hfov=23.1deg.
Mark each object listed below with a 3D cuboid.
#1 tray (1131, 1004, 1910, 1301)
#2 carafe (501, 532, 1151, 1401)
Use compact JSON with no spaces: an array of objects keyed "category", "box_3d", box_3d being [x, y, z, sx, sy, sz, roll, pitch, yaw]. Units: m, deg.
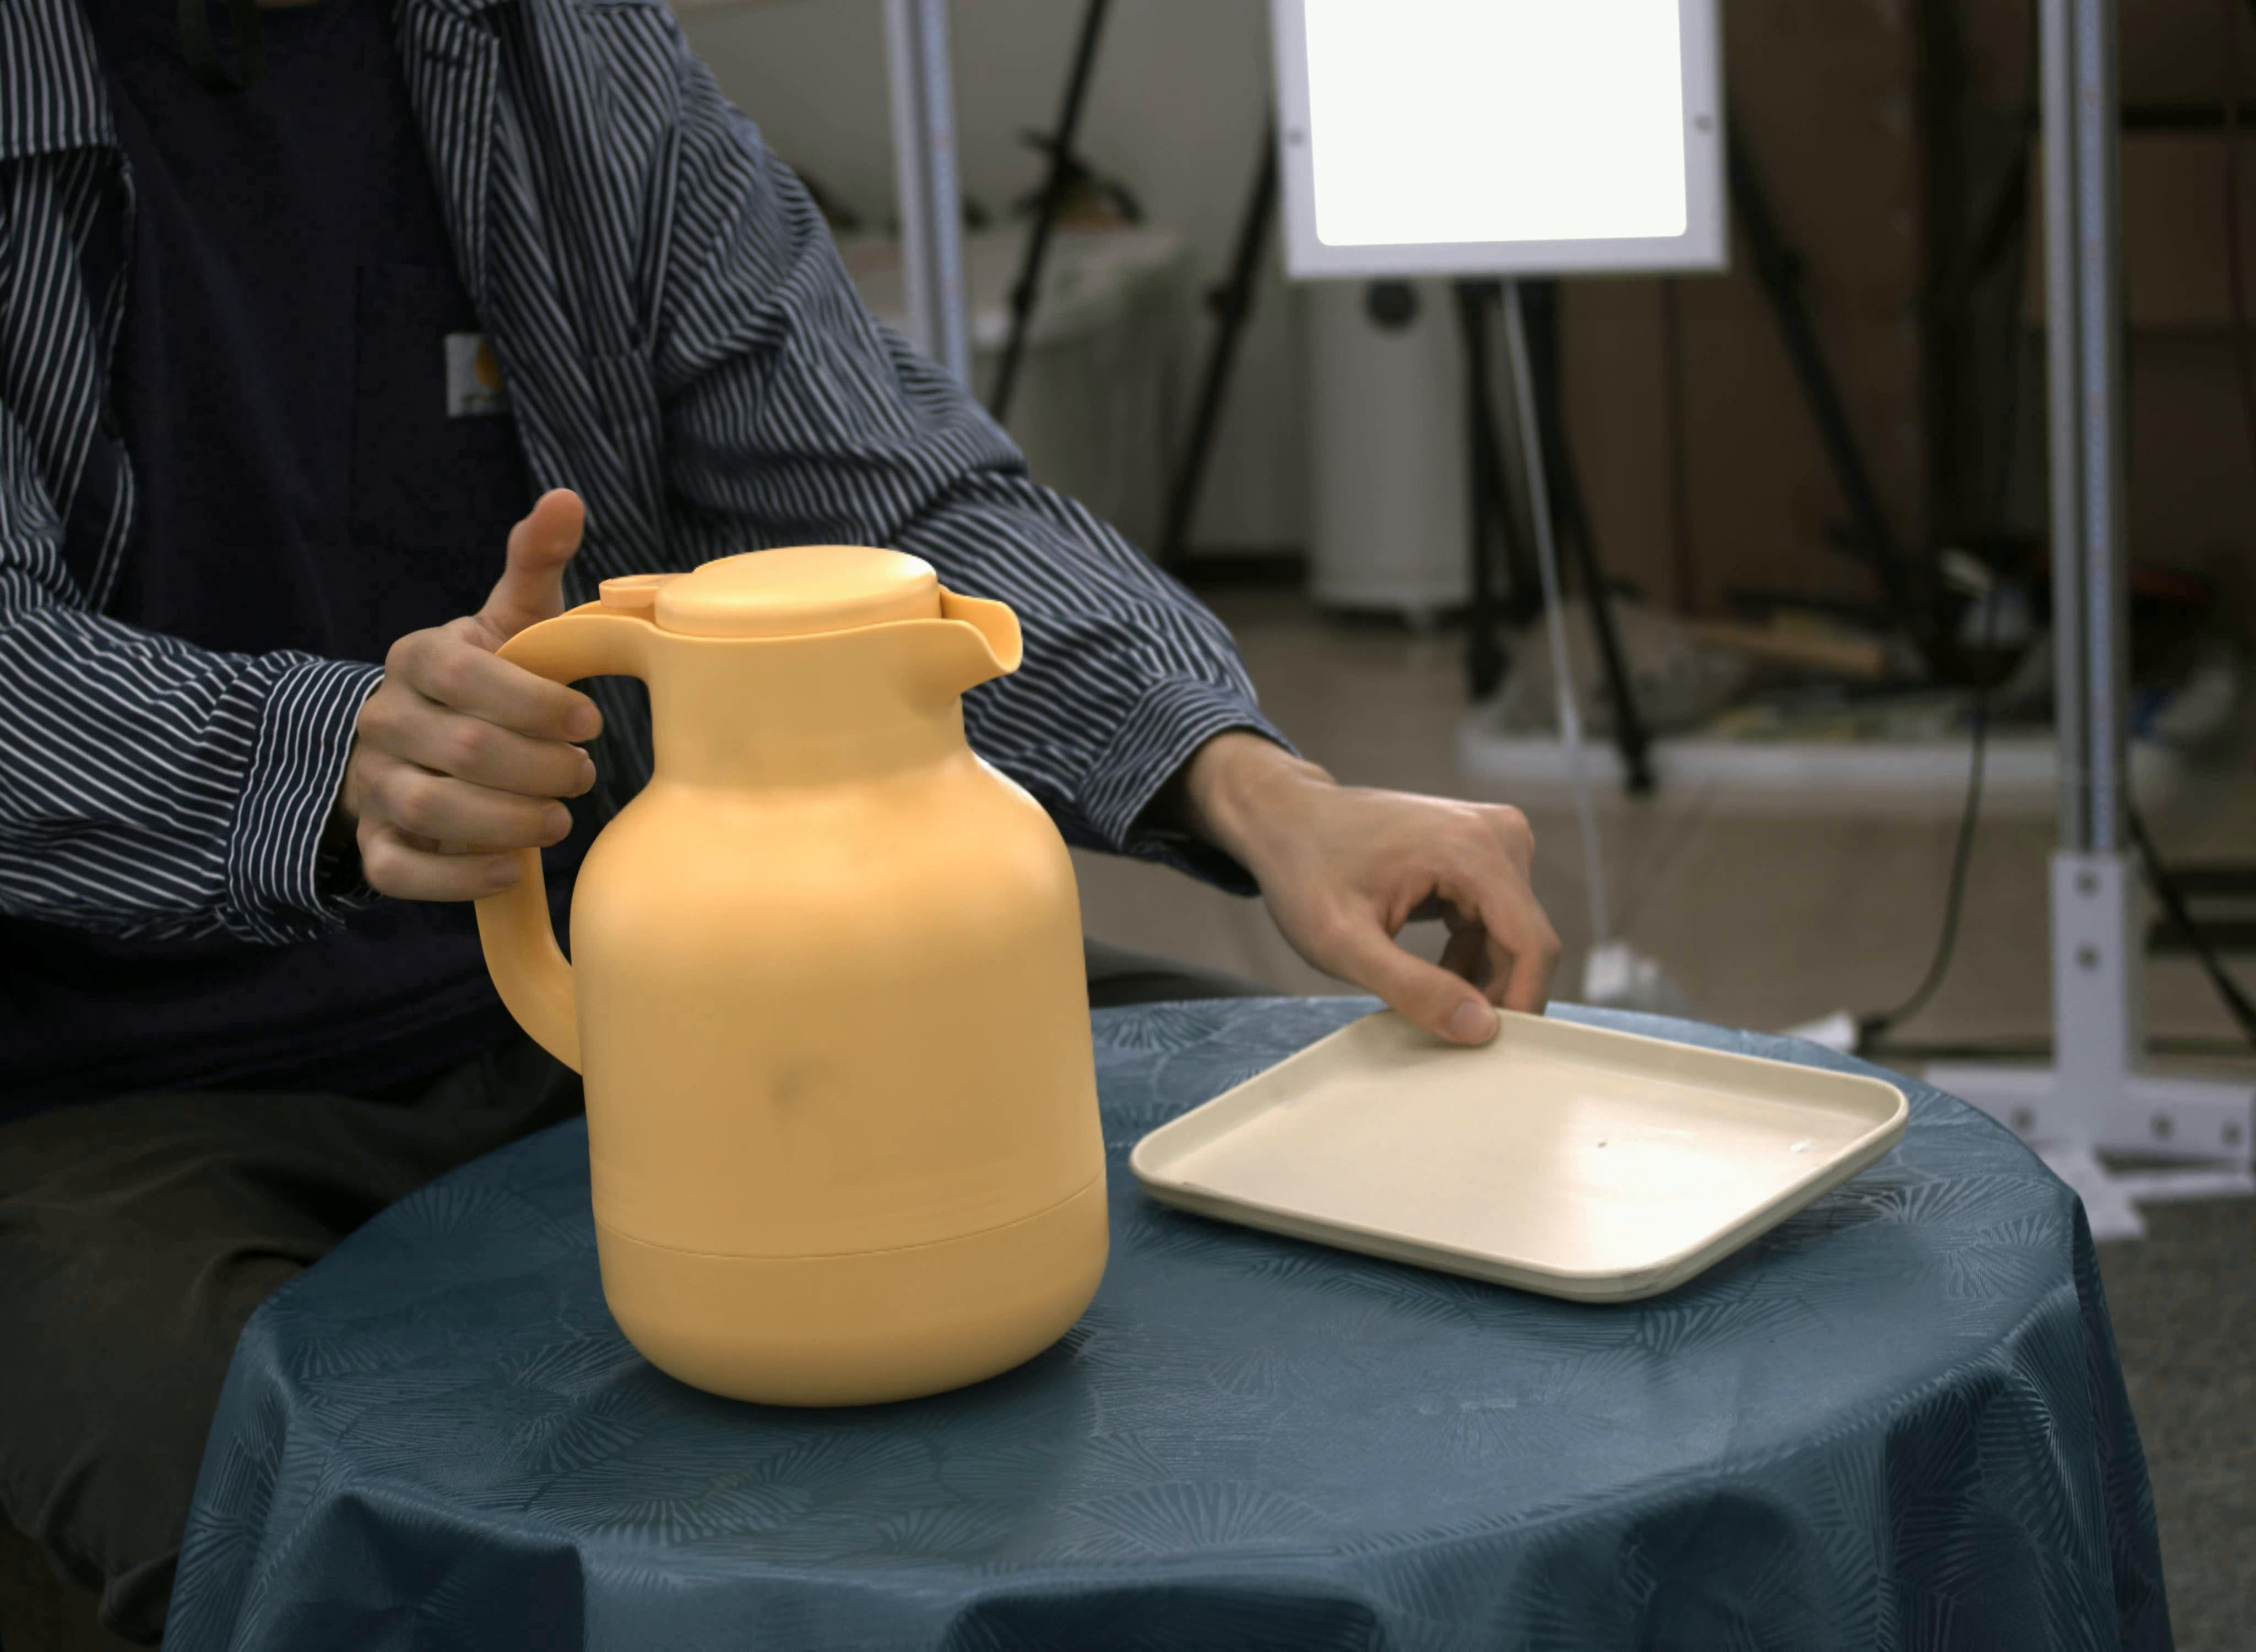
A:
[{"category":"tray","box_3d":[0.131,0.109,1.846,0.245,0.017,0.167,9,26,45]},{"category":"carafe","box_3d":[-0.097,0.039,1.738,0.205,0.261,0.160,1,13,24]}]
